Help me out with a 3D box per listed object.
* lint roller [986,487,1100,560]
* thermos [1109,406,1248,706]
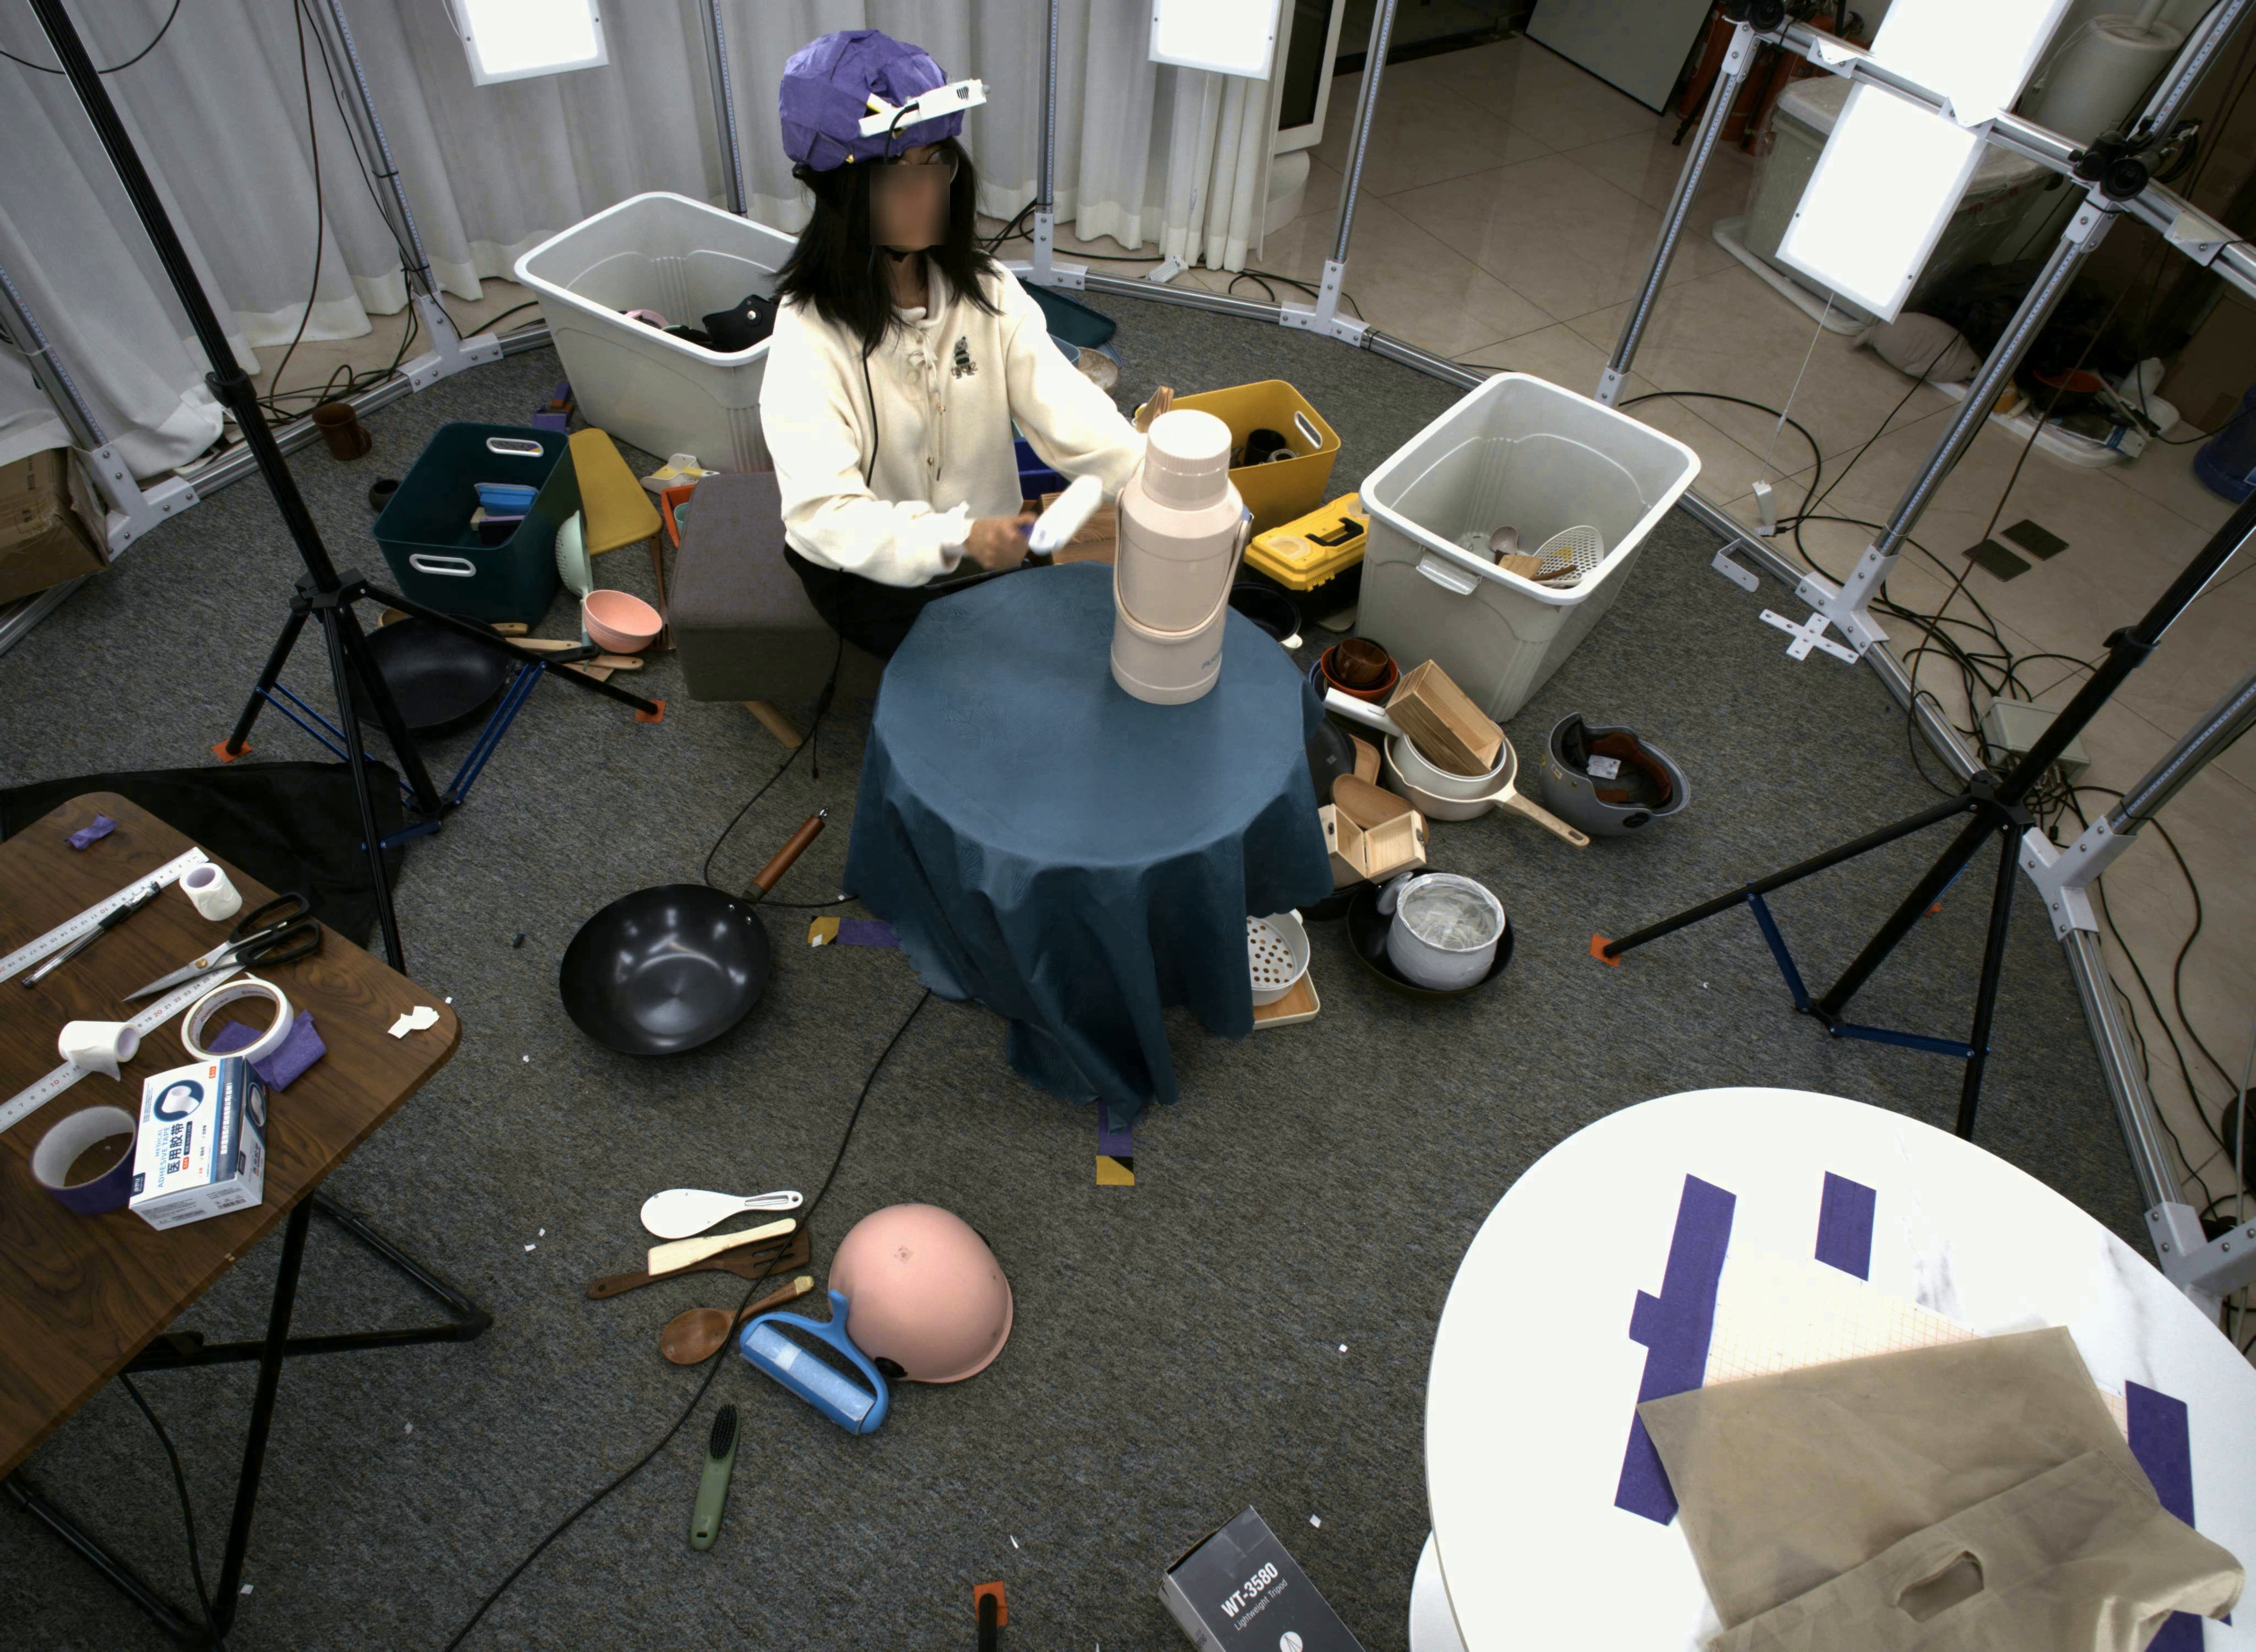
[{"bbox_3d":[-0.128,-0.389,1.685,0.182,0.049,0.135,4,44,42],"label":"lint roller"},{"bbox_3d":[0.070,-0.366,1.737,0.176,0.396,0.211,17,50,10],"label":"thermos"}]
